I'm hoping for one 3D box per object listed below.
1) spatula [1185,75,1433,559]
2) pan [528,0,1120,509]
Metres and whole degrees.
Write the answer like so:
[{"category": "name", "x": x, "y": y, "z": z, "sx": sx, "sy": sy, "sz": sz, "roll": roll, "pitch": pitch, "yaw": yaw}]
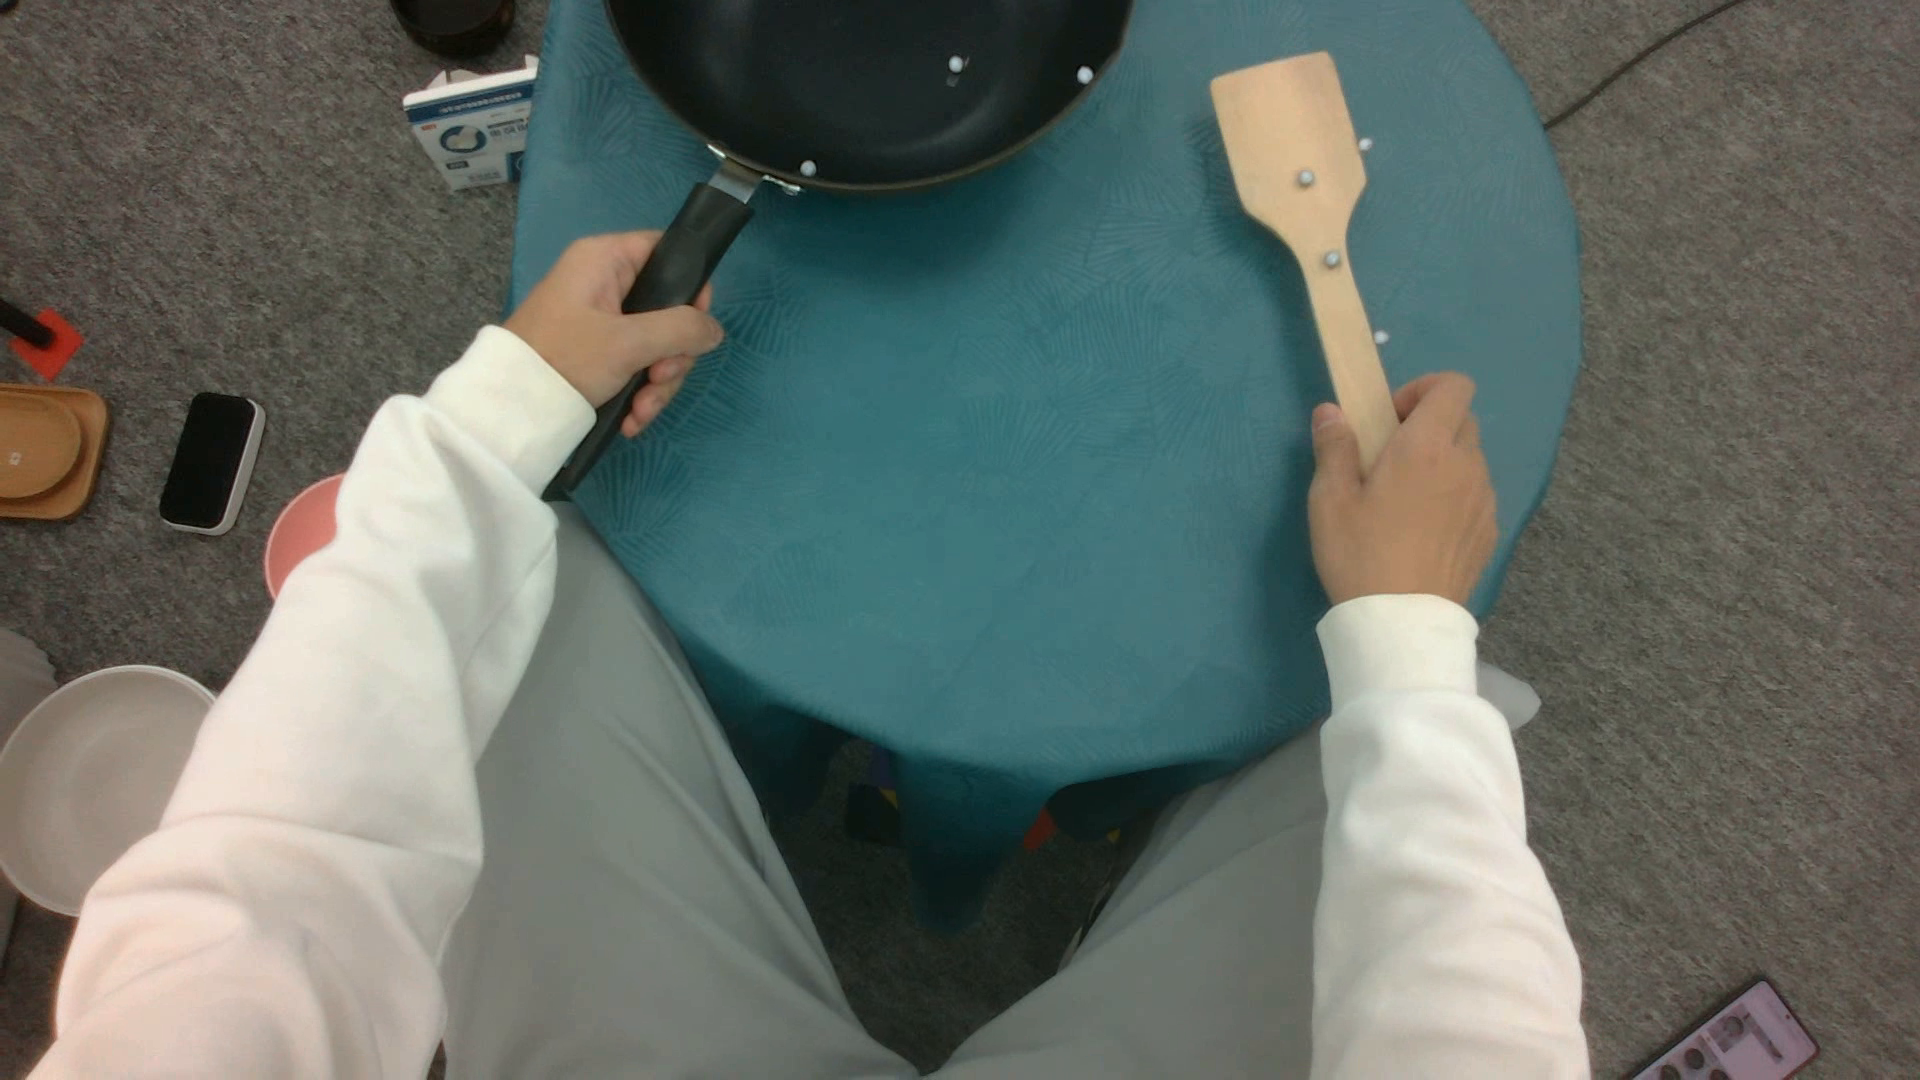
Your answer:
[{"category": "spatula", "x": 0.199, "y": -0.127, "z": 0.756, "sx": 0.072, "sy": 0.010, "sz": 0.293, "roll": -15, "pitch": 73, "yaw": -1}, {"category": "pan", "x": -0.094, "y": -0.213, "z": 0.753, "sx": 0.288, "sy": 0.086, "sz": 0.464, "roll": 25, "pitch": 79, "yaw": 8}]
